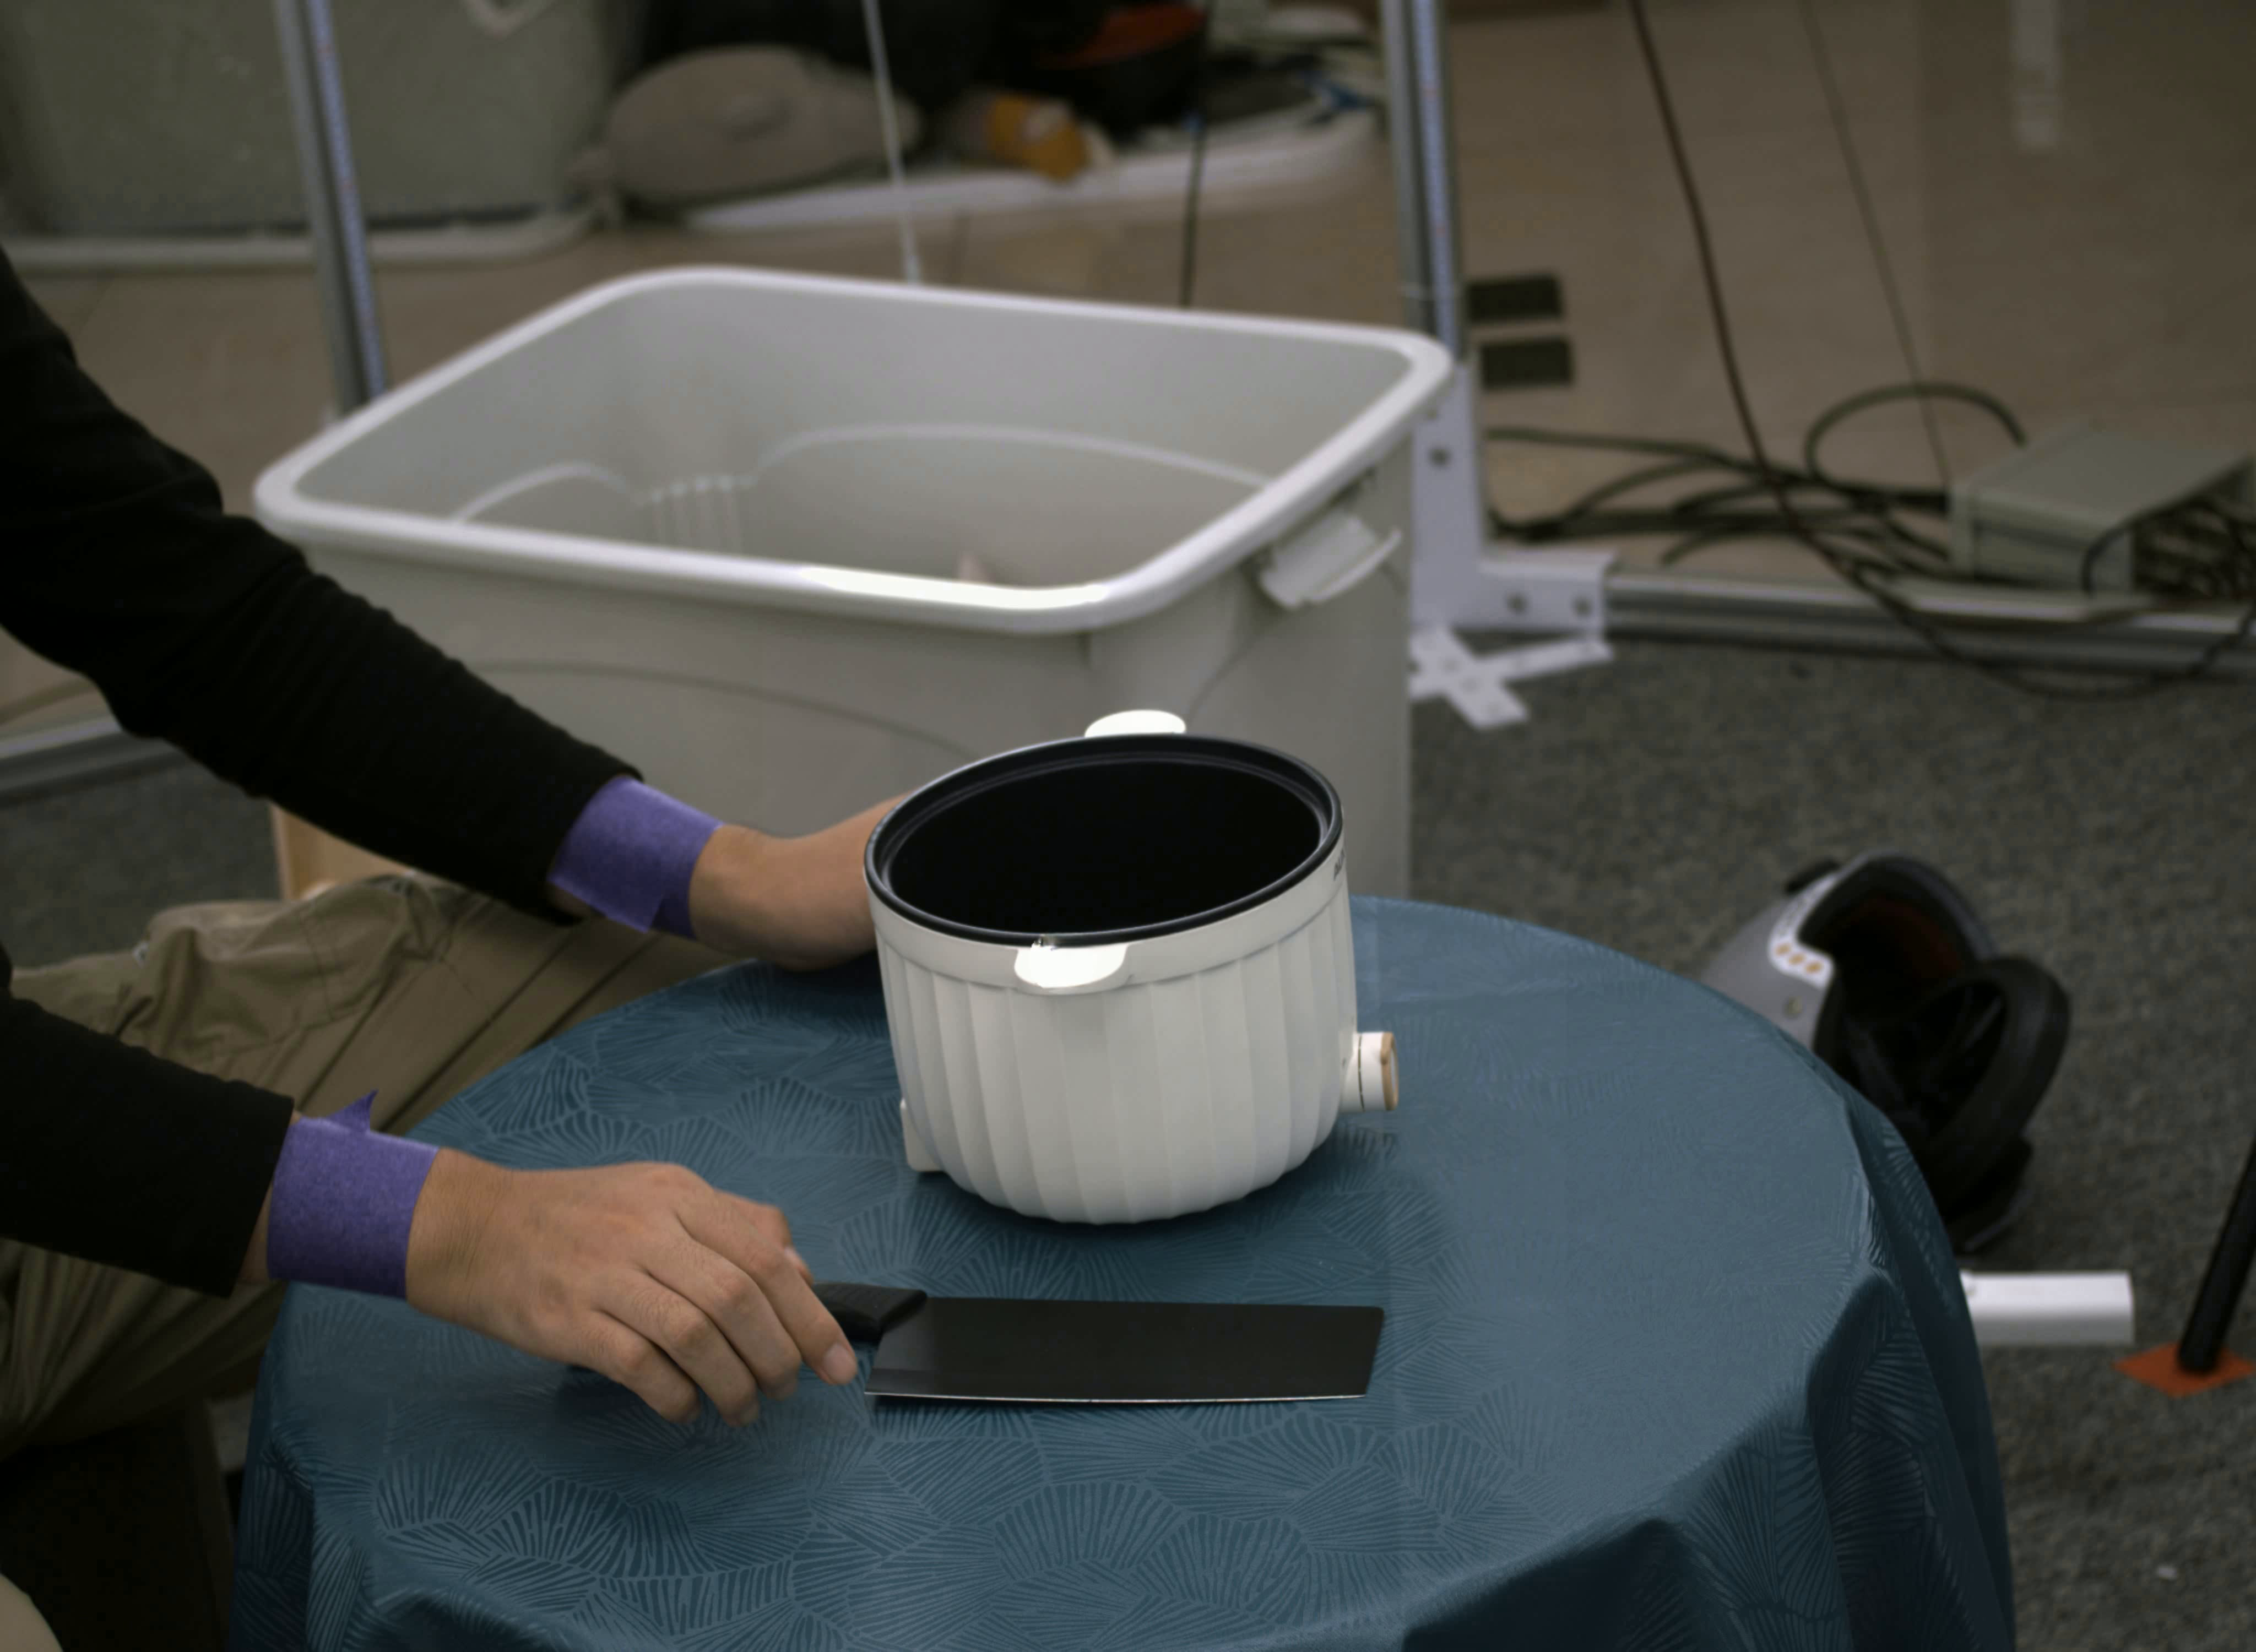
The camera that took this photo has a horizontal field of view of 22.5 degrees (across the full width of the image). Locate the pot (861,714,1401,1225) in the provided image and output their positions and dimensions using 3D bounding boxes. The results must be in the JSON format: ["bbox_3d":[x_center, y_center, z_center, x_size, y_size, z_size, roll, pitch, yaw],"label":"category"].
[{"bbox_3d":[0.003,0.061,2.150,0.190,0.145,0.237,-6,26,10],"label":"pot"}]

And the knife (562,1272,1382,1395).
[{"bbox_3d":[-0.058,0.185,2.050,0.301,0.021,0.080,3,27,14],"label":"knife"}]
